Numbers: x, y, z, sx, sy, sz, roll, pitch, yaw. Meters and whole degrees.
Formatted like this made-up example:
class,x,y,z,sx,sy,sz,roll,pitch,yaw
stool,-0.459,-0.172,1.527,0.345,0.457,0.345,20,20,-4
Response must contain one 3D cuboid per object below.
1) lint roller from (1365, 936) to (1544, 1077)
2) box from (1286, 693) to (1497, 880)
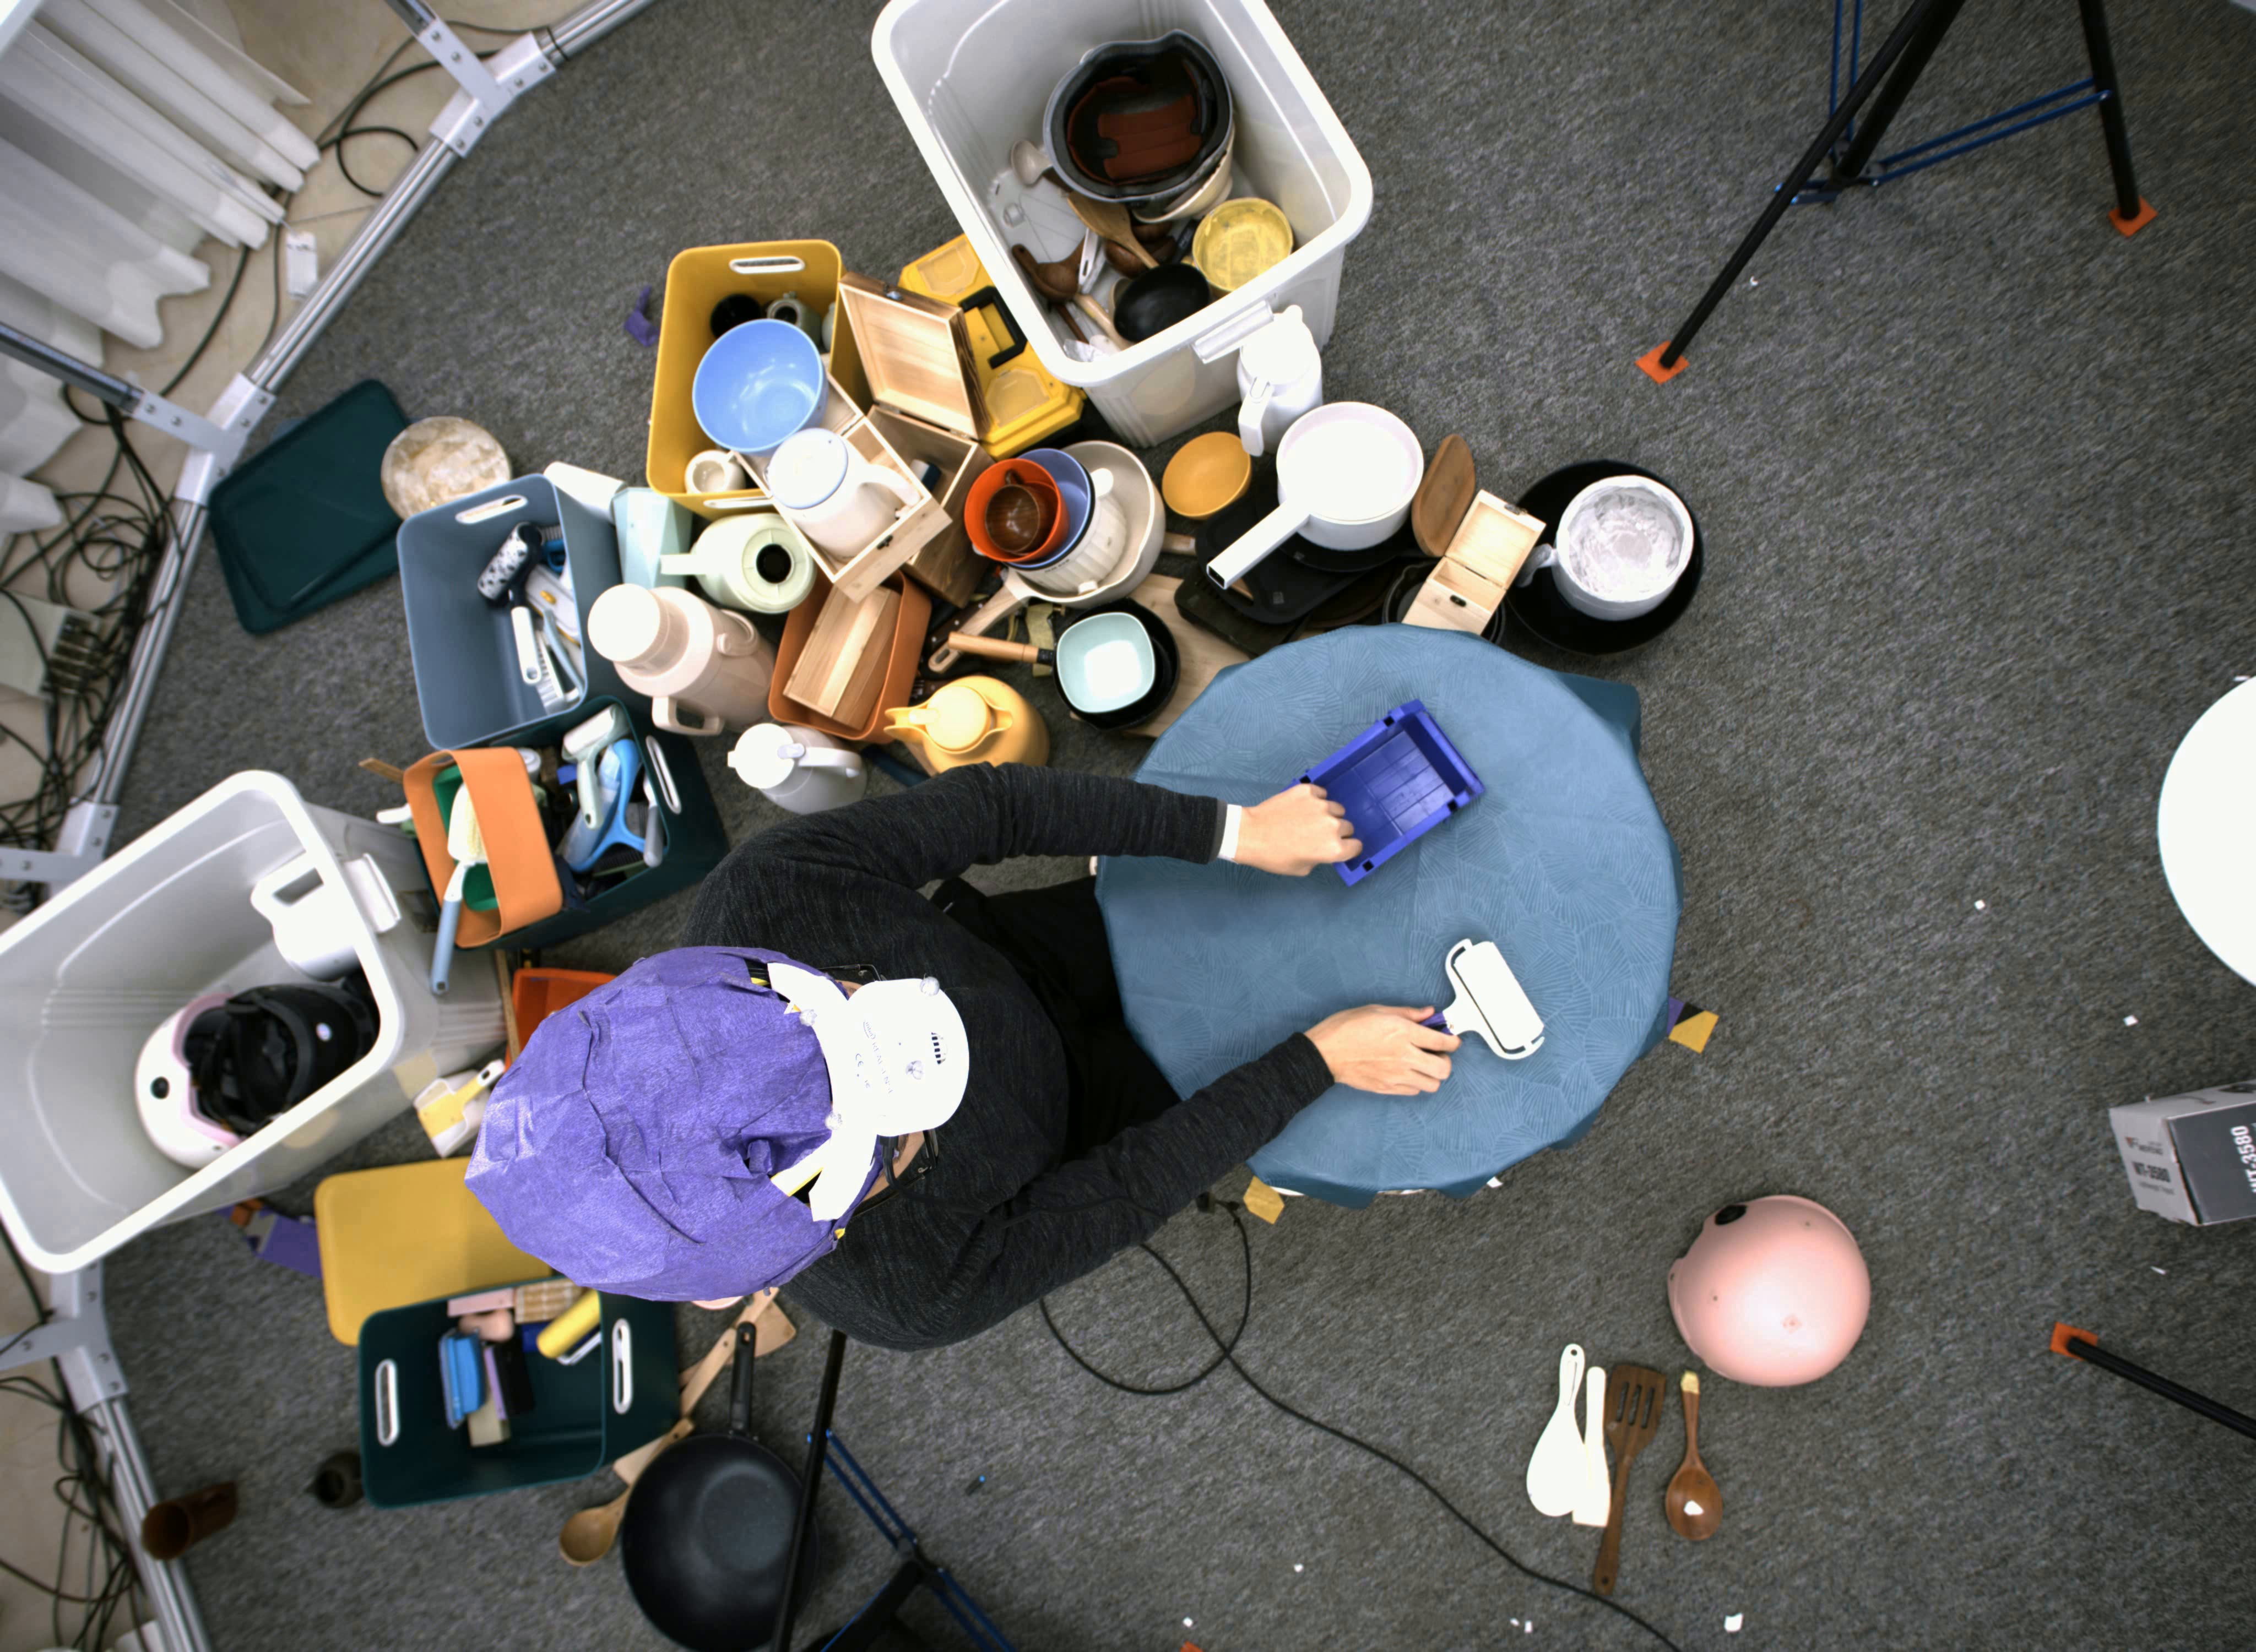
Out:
class,x,y,z,sx,sy,sz,roll,pitch,yaw
lint roller,0.322,0.203,1.415,0.181,0.050,0.132,-29,83,2
box,0.272,-0.044,1.422,0.180,0.082,0.123,-36,78,8
